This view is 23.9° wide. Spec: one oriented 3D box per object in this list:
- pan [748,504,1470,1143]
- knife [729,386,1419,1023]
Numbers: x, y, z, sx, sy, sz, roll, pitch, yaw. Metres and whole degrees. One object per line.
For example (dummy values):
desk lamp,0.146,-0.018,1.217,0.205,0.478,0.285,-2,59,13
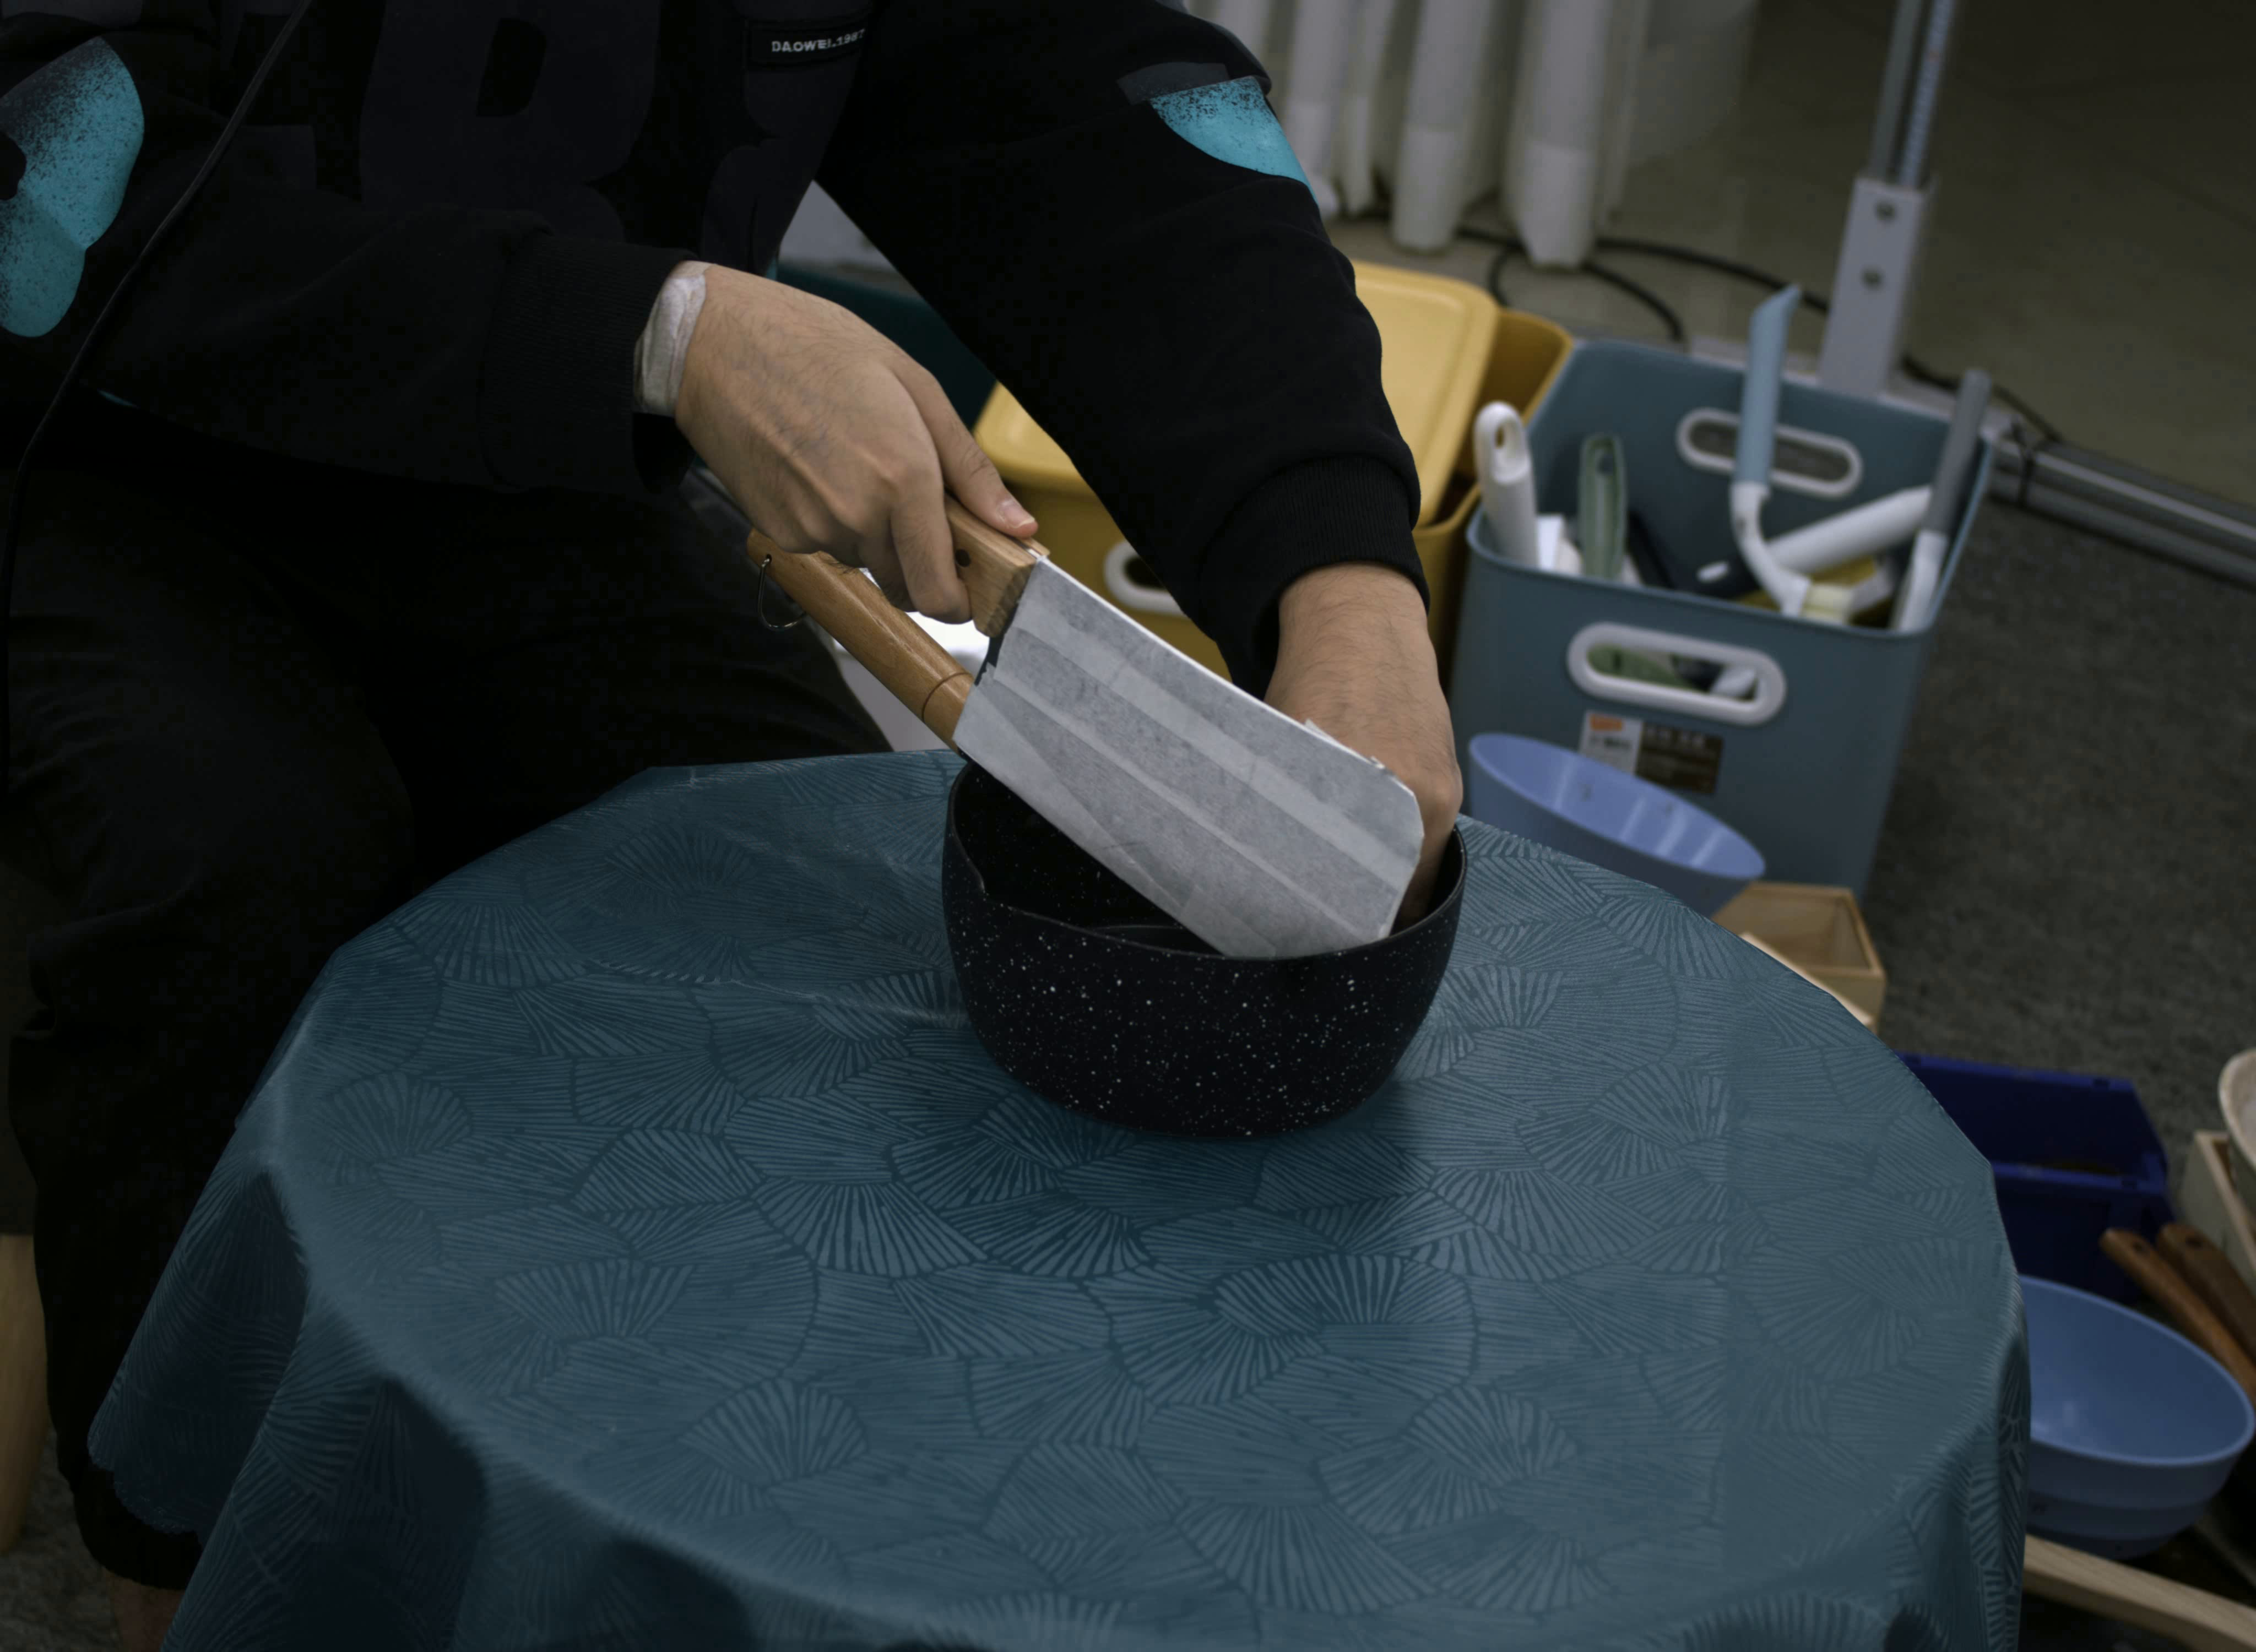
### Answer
pan,-0.029,-0.004,1.926,0.206,0.108,0.345,-20,38,-40
knife,-0.022,-0.054,1.858,0.317,0.114,0.021,40,34,20
